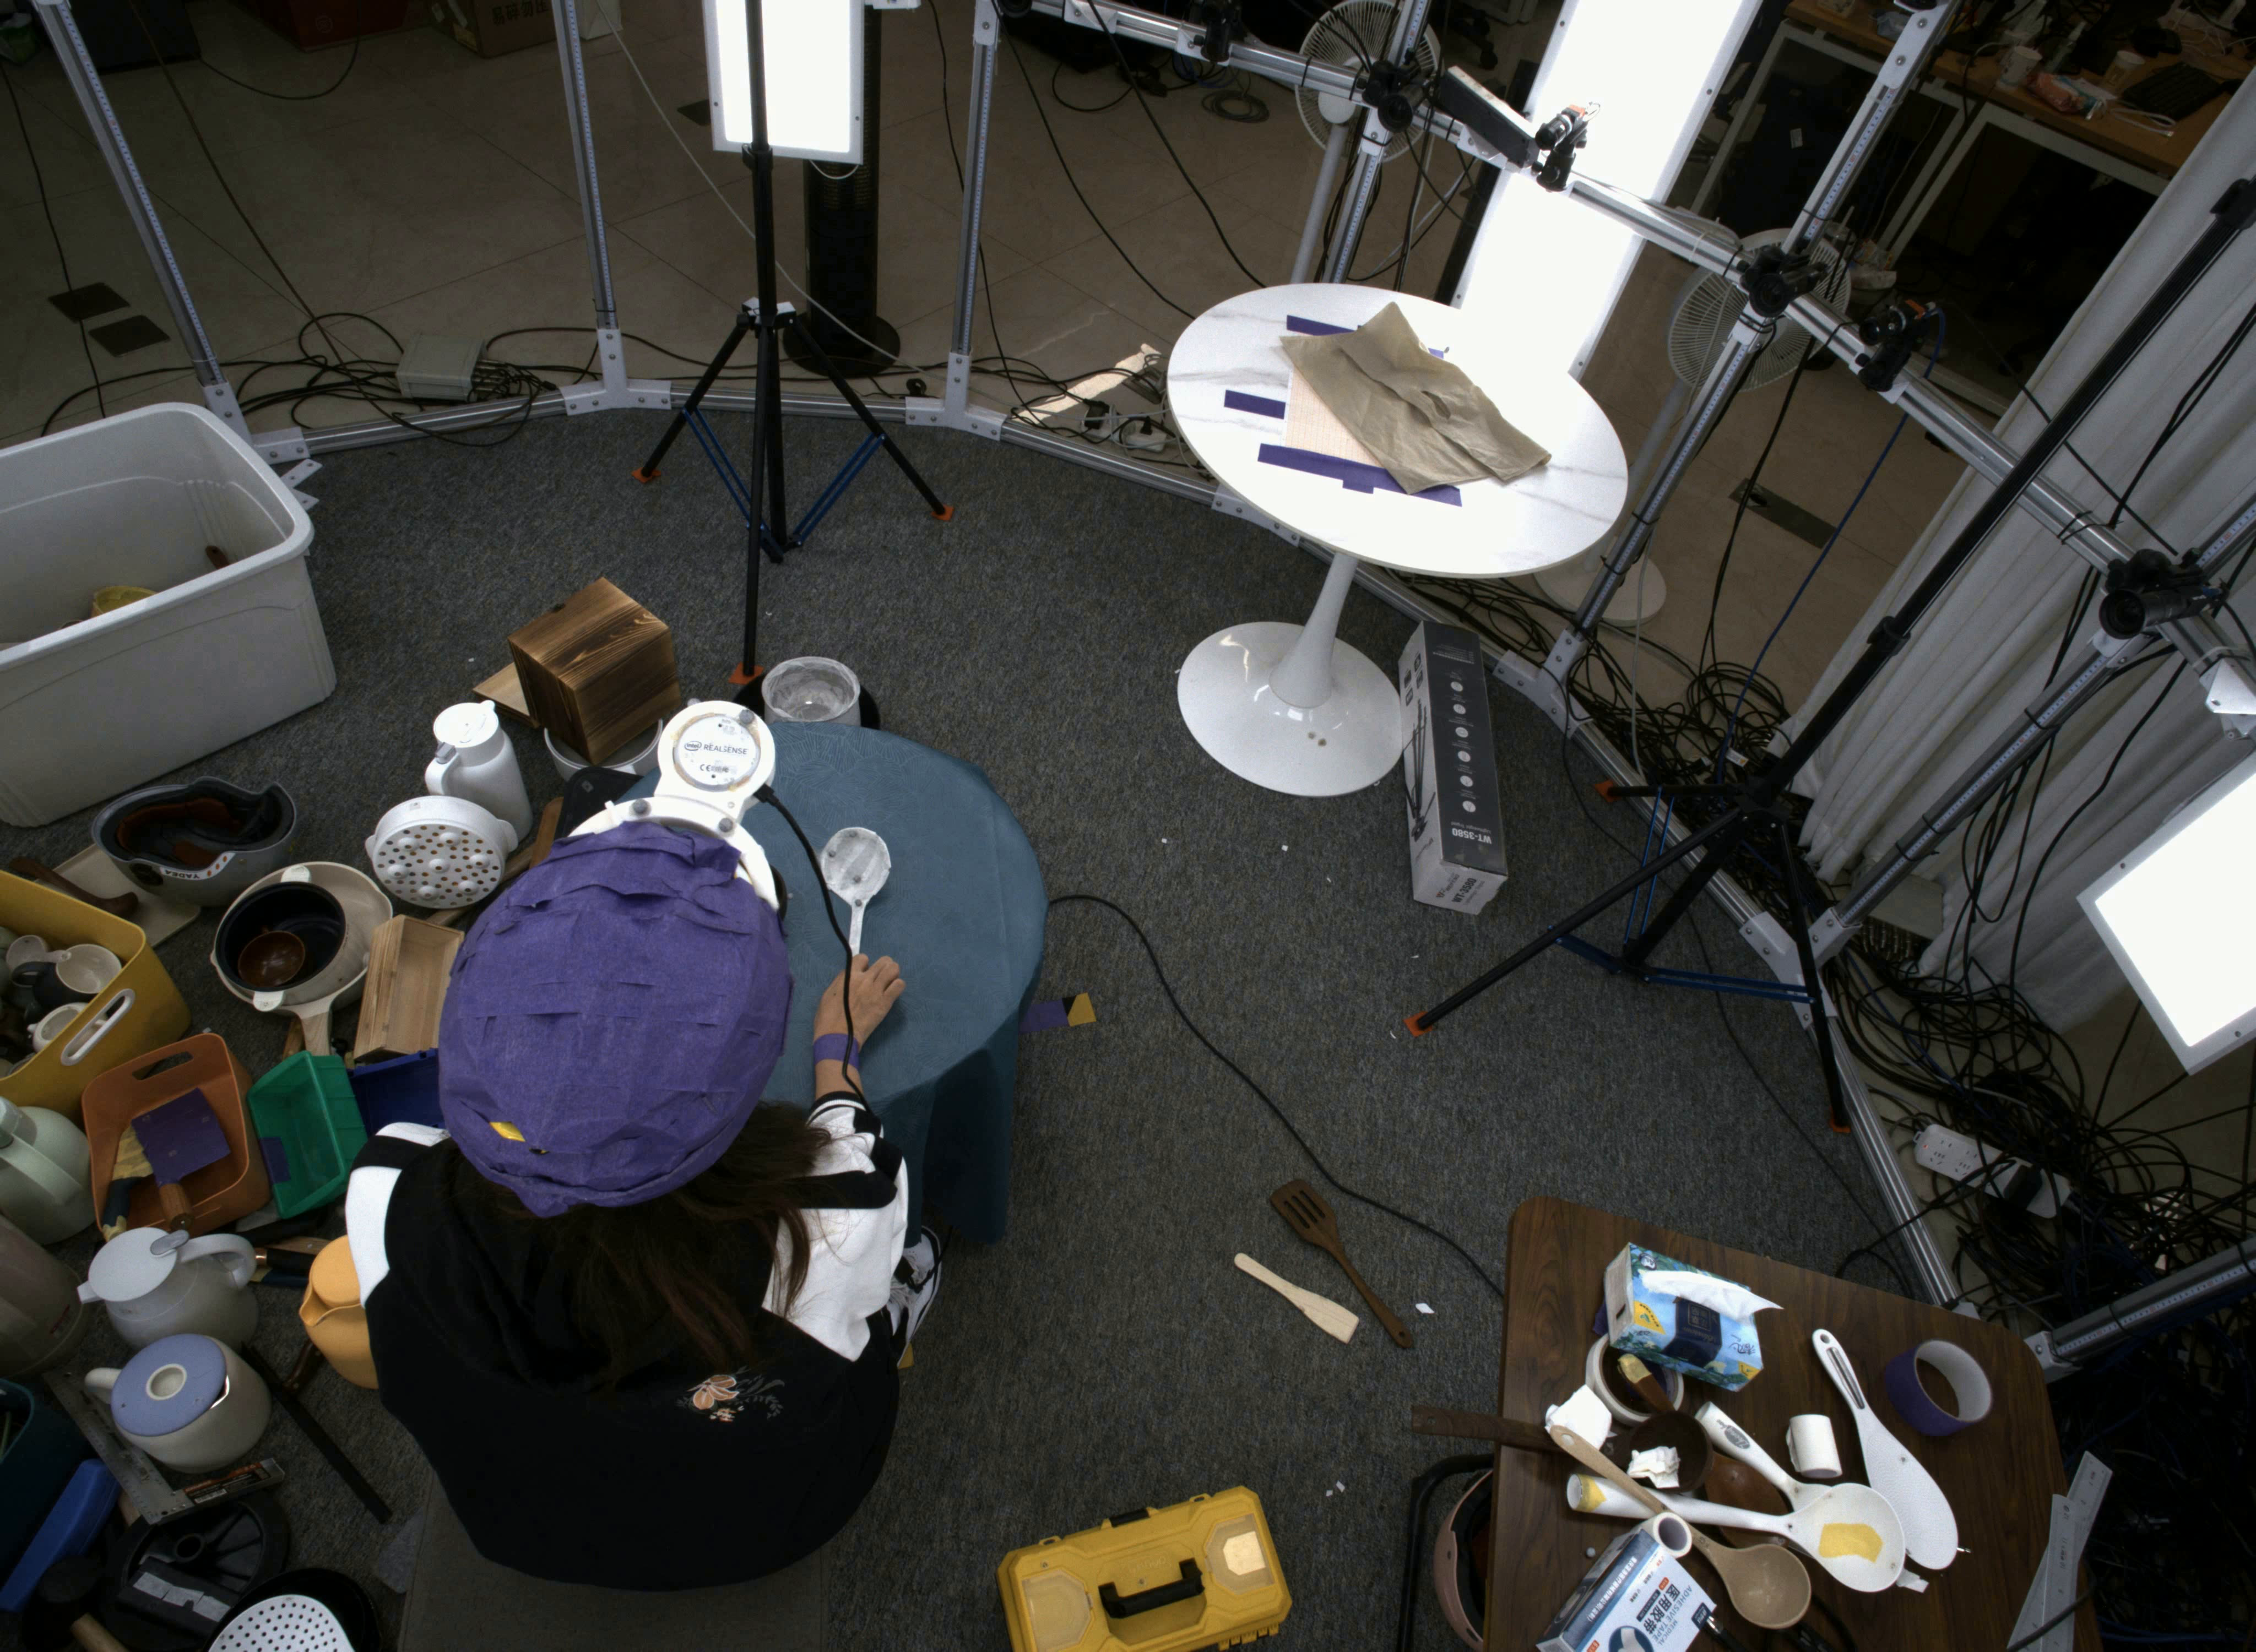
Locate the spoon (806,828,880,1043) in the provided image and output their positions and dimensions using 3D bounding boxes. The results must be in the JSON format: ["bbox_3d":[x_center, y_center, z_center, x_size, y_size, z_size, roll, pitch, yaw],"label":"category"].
[{"bbox_3d":[-0.364,0.129,1.605,0.099,0.061,0.272,-9,54,12],"label":"spoon"}]

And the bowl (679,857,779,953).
[{"bbox_3d":[-0.486,0.102,1.579,0.118,0.071,0.116,7,52,-8],"label":"bowl"}]
